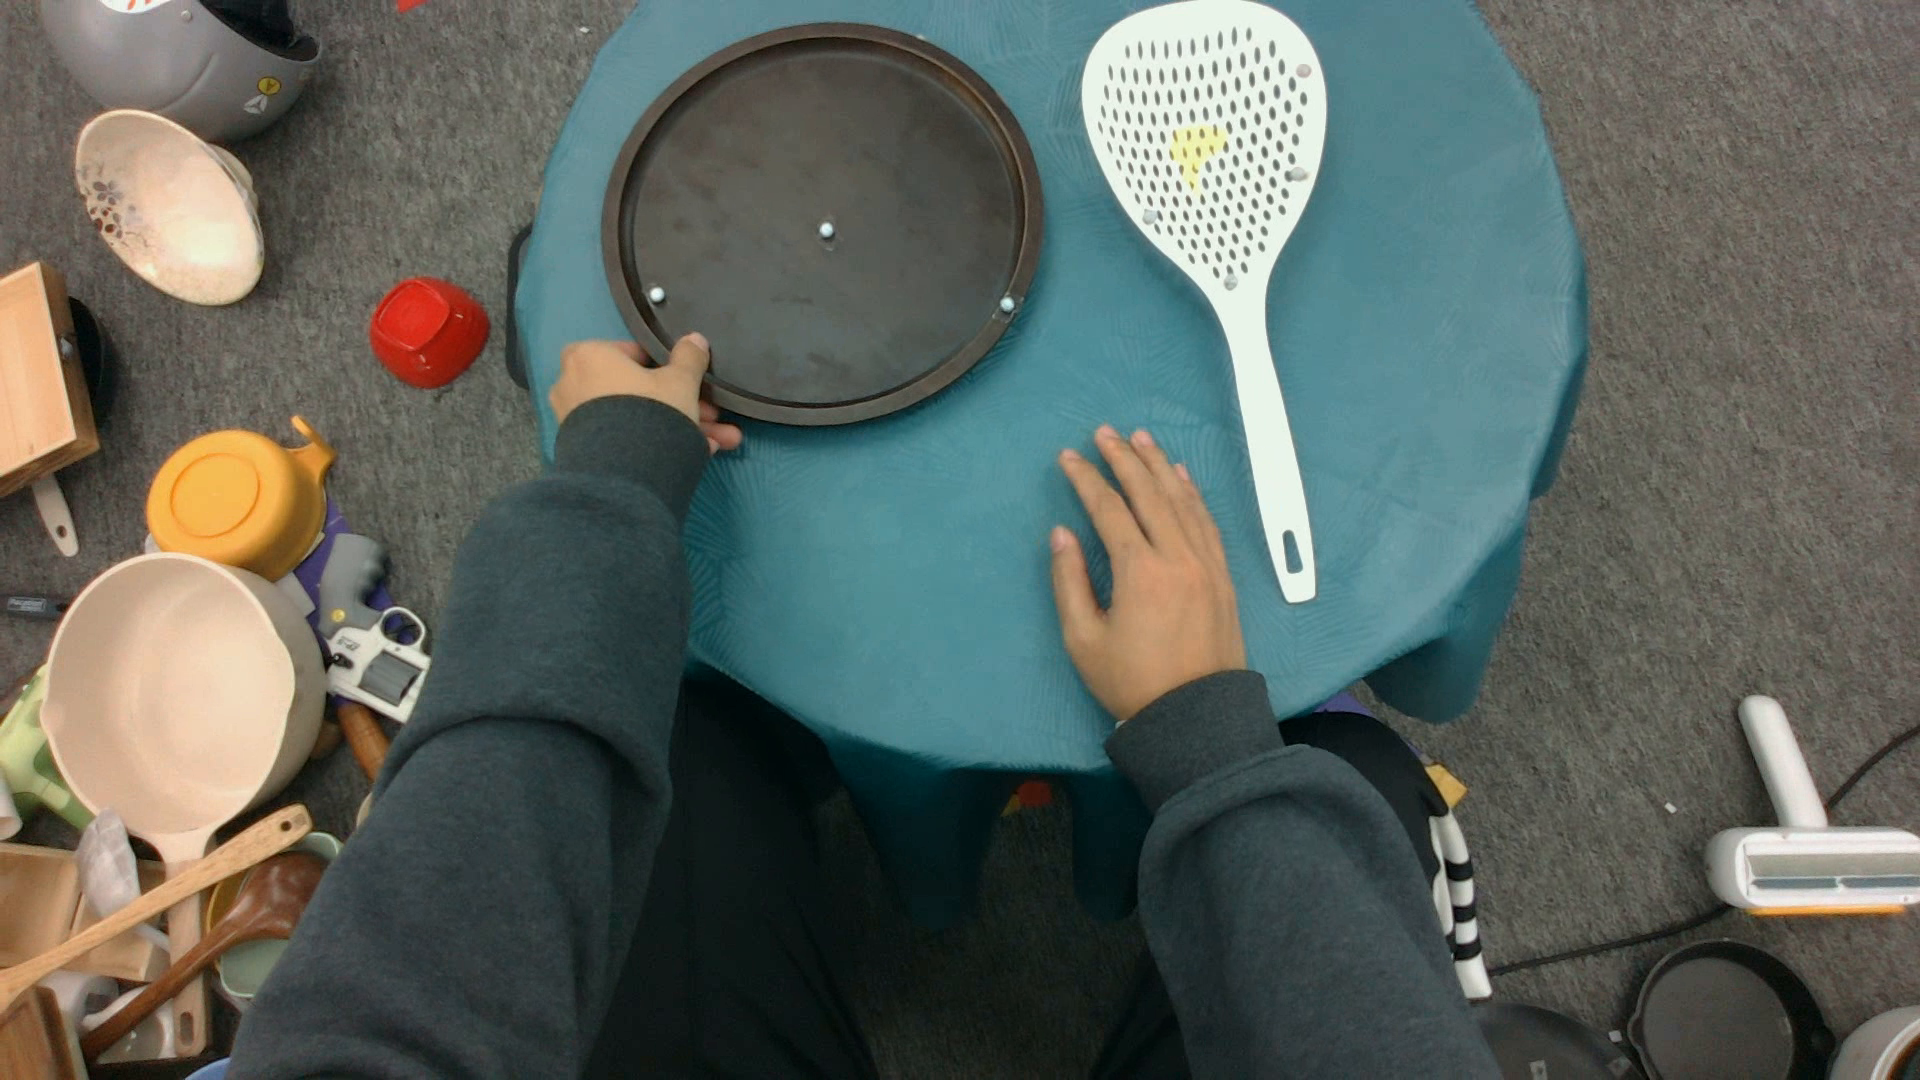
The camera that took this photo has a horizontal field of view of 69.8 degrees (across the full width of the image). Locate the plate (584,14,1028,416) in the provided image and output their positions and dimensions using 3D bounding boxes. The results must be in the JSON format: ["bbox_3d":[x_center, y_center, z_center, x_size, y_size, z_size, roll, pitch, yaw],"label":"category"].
[{"bbox_3d":[-0.088,-0.188,0.788,0.255,0.029,0.255,0,74,1],"label":"plate"}]

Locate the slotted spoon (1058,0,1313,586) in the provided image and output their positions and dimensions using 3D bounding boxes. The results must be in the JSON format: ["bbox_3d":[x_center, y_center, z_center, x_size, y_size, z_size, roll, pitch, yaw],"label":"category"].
[{"bbox_3d":[0.143,-0.146,0.759,0.137,0.050,0.348,-10,74,-3],"label":"slotted spoon"}]
